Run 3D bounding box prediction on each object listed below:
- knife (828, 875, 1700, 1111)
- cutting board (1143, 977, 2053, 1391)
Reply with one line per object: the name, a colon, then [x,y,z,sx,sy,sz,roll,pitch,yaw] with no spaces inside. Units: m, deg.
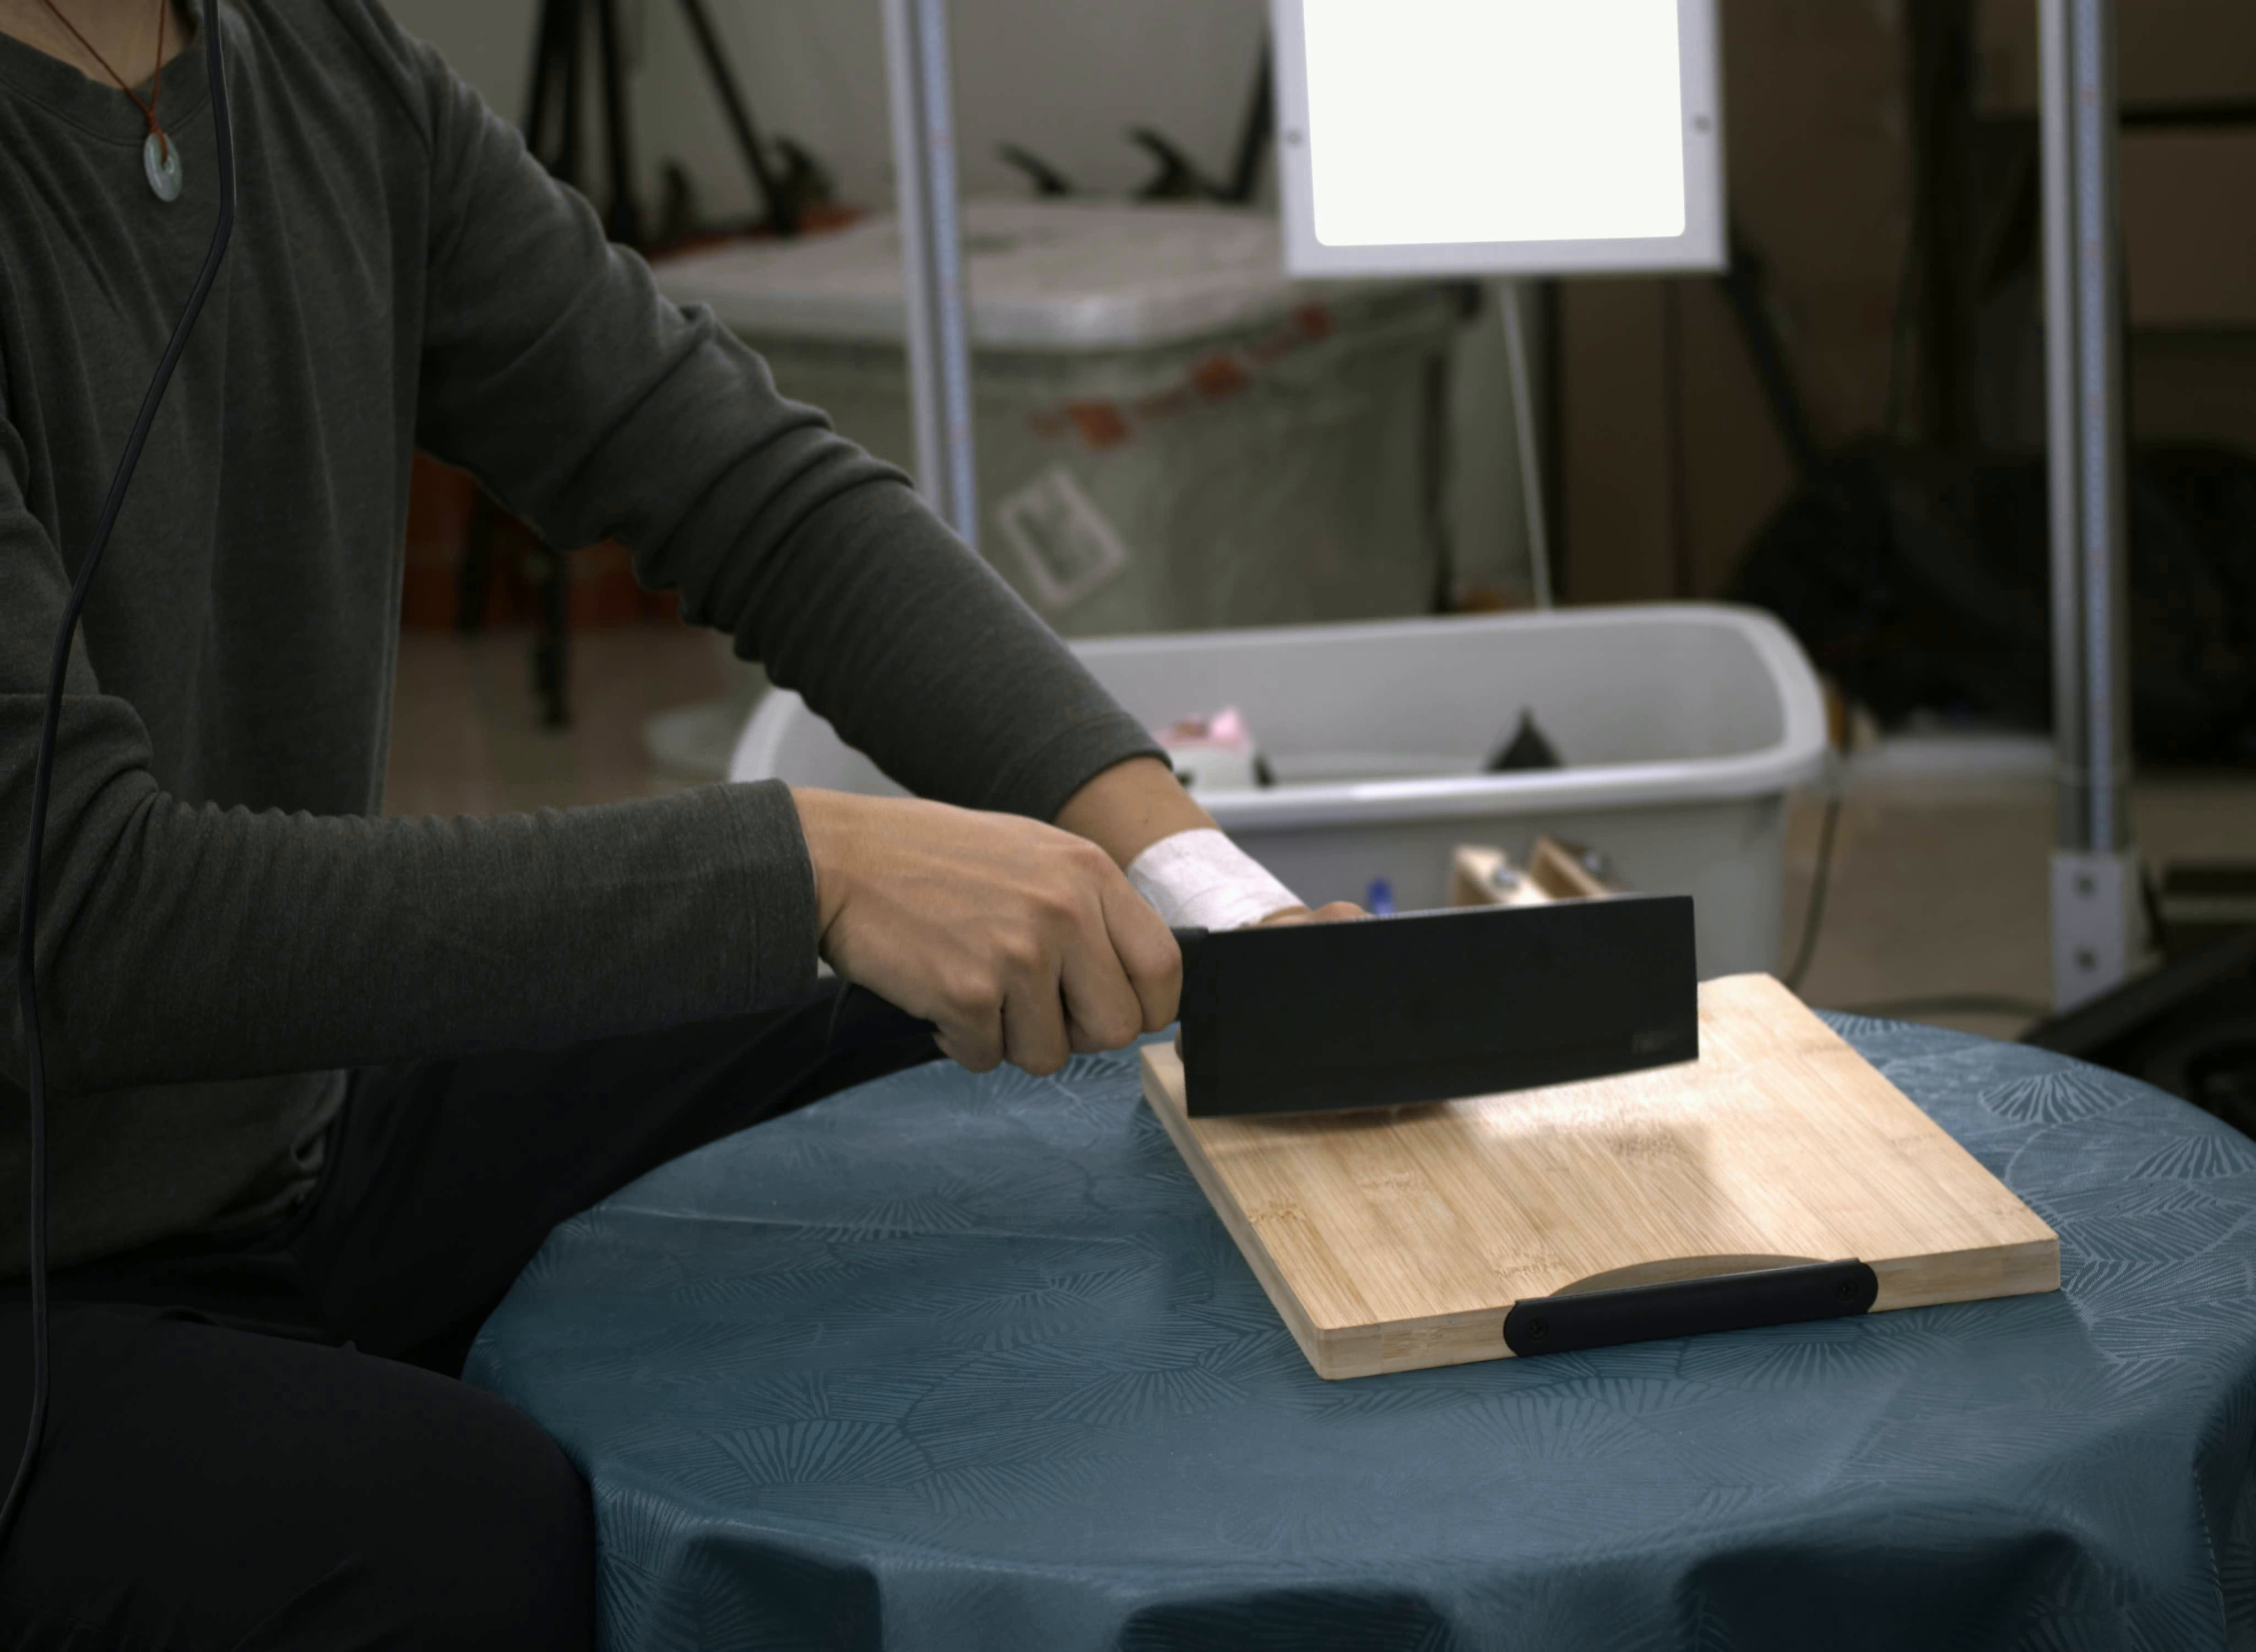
knife: [0.048,0.058,1.877,0.300,0.081,0.021,-1,8,-4]
cutting board: [0.150,0.115,1.863,0.248,0.023,0.350,-8,14,-7]
